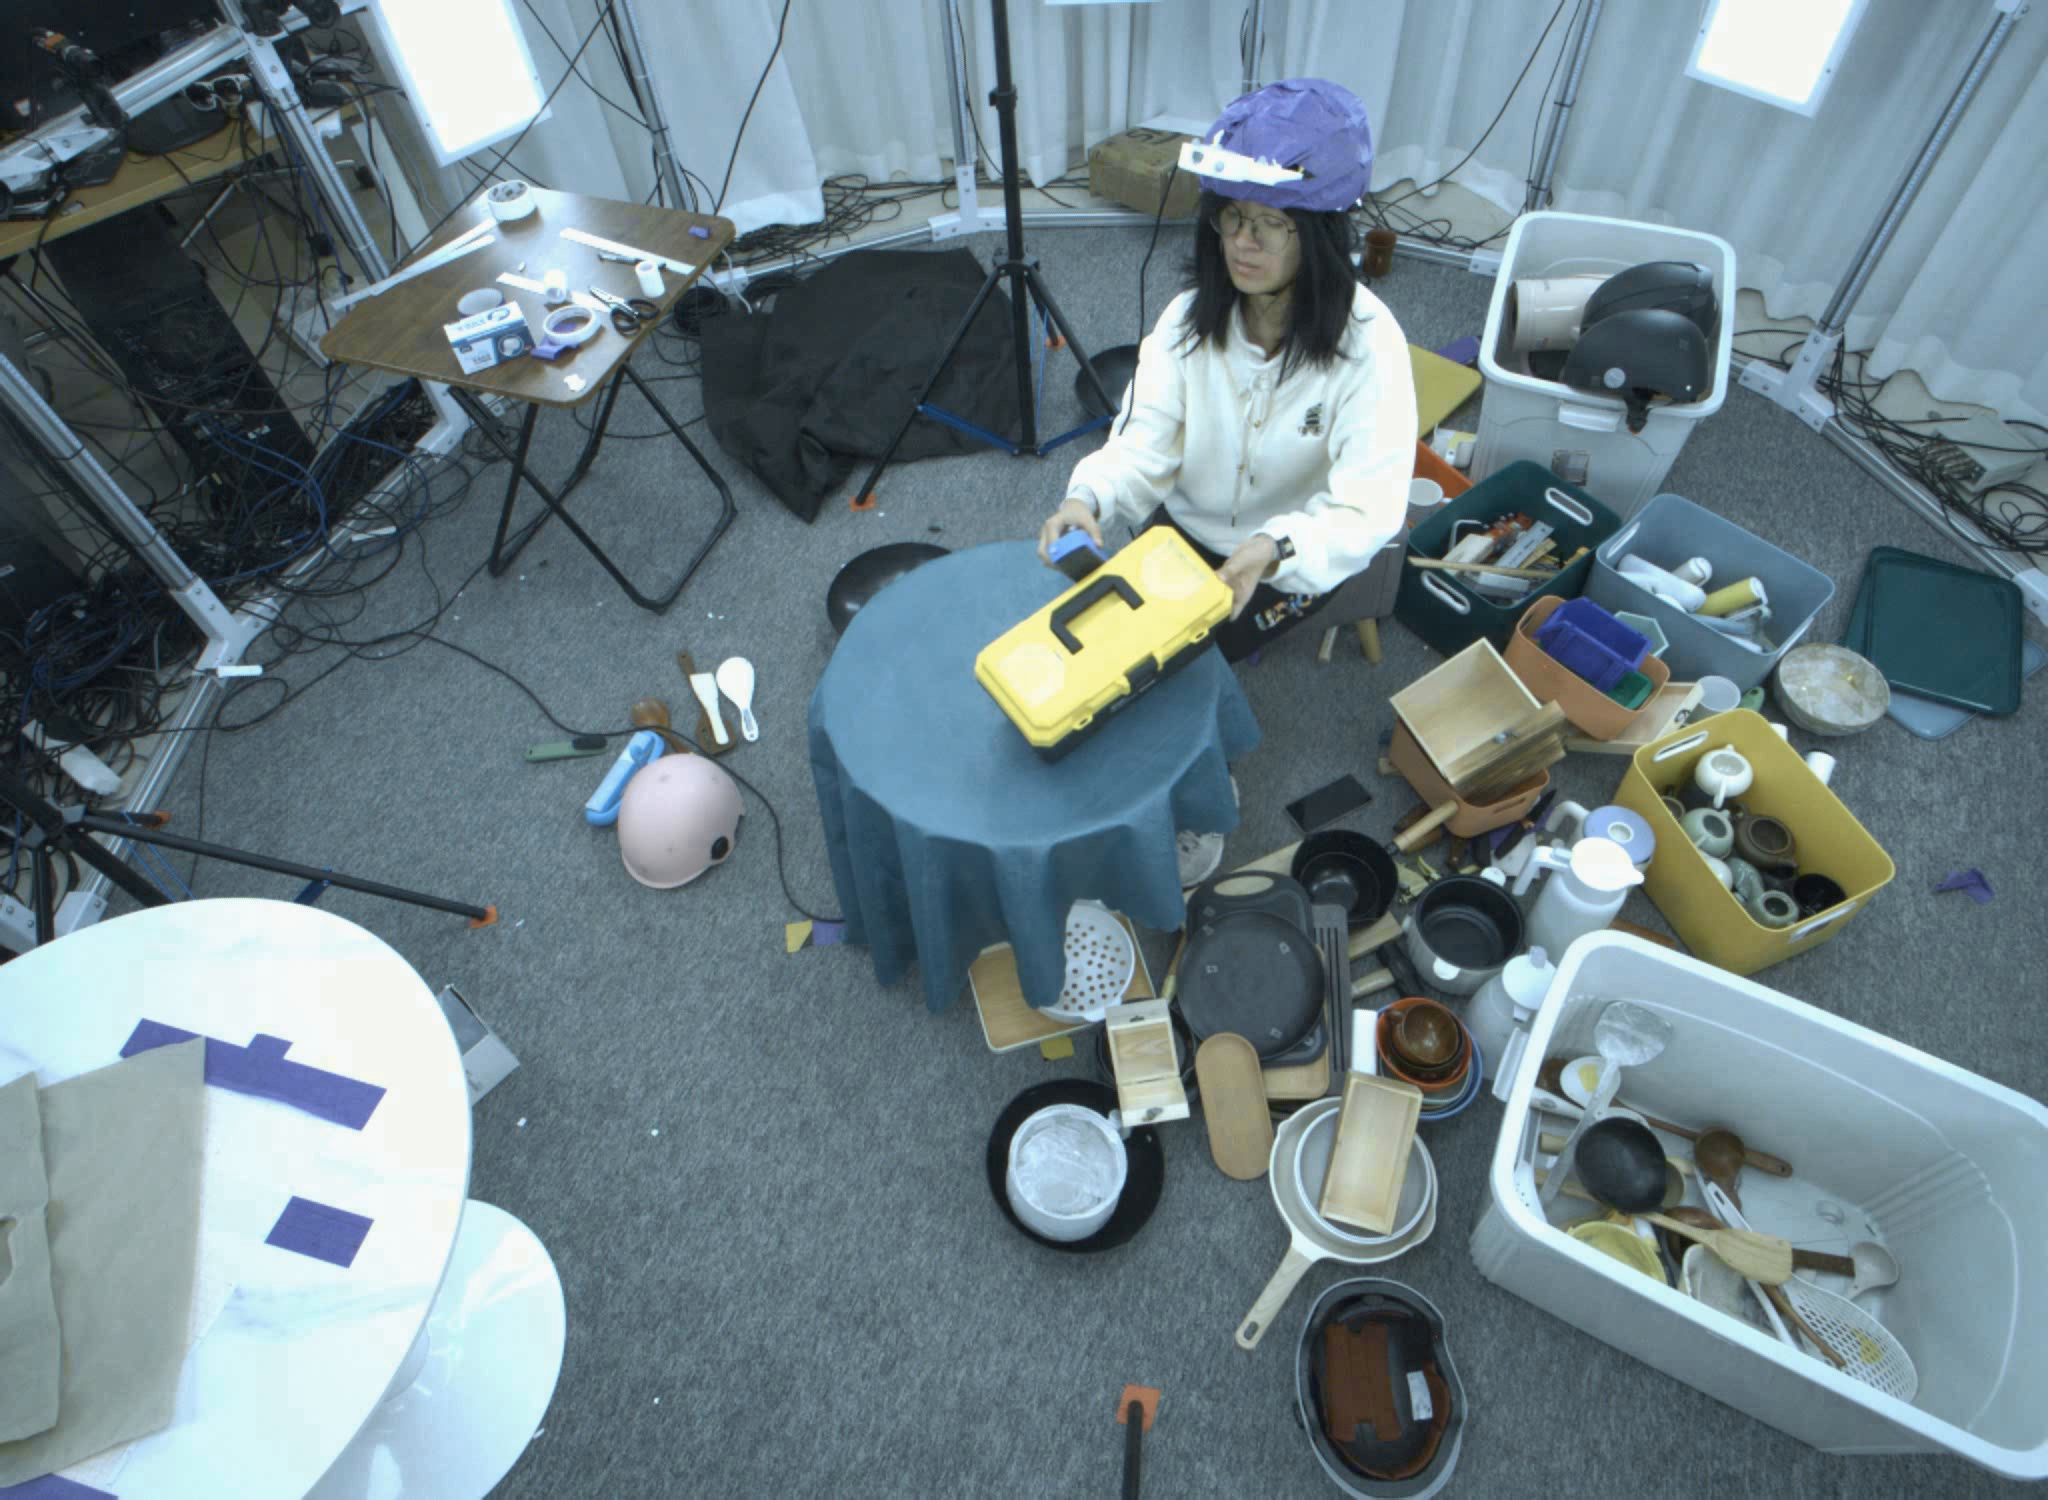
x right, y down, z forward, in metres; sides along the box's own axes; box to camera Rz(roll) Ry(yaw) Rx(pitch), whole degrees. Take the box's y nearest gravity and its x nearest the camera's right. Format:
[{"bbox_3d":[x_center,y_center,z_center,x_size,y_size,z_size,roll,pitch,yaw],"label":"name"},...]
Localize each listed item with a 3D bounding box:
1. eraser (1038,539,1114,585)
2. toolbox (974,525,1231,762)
[{"bbox_3d":[0.072,-0.264,1.722,0.053,0.164,0.047,-39,79,23],"label":"eraser"},{"bbox_3d":[0.114,-0.144,1.735,0.353,0.174,0.179,-37,72,-9],"label":"toolbox"}]
